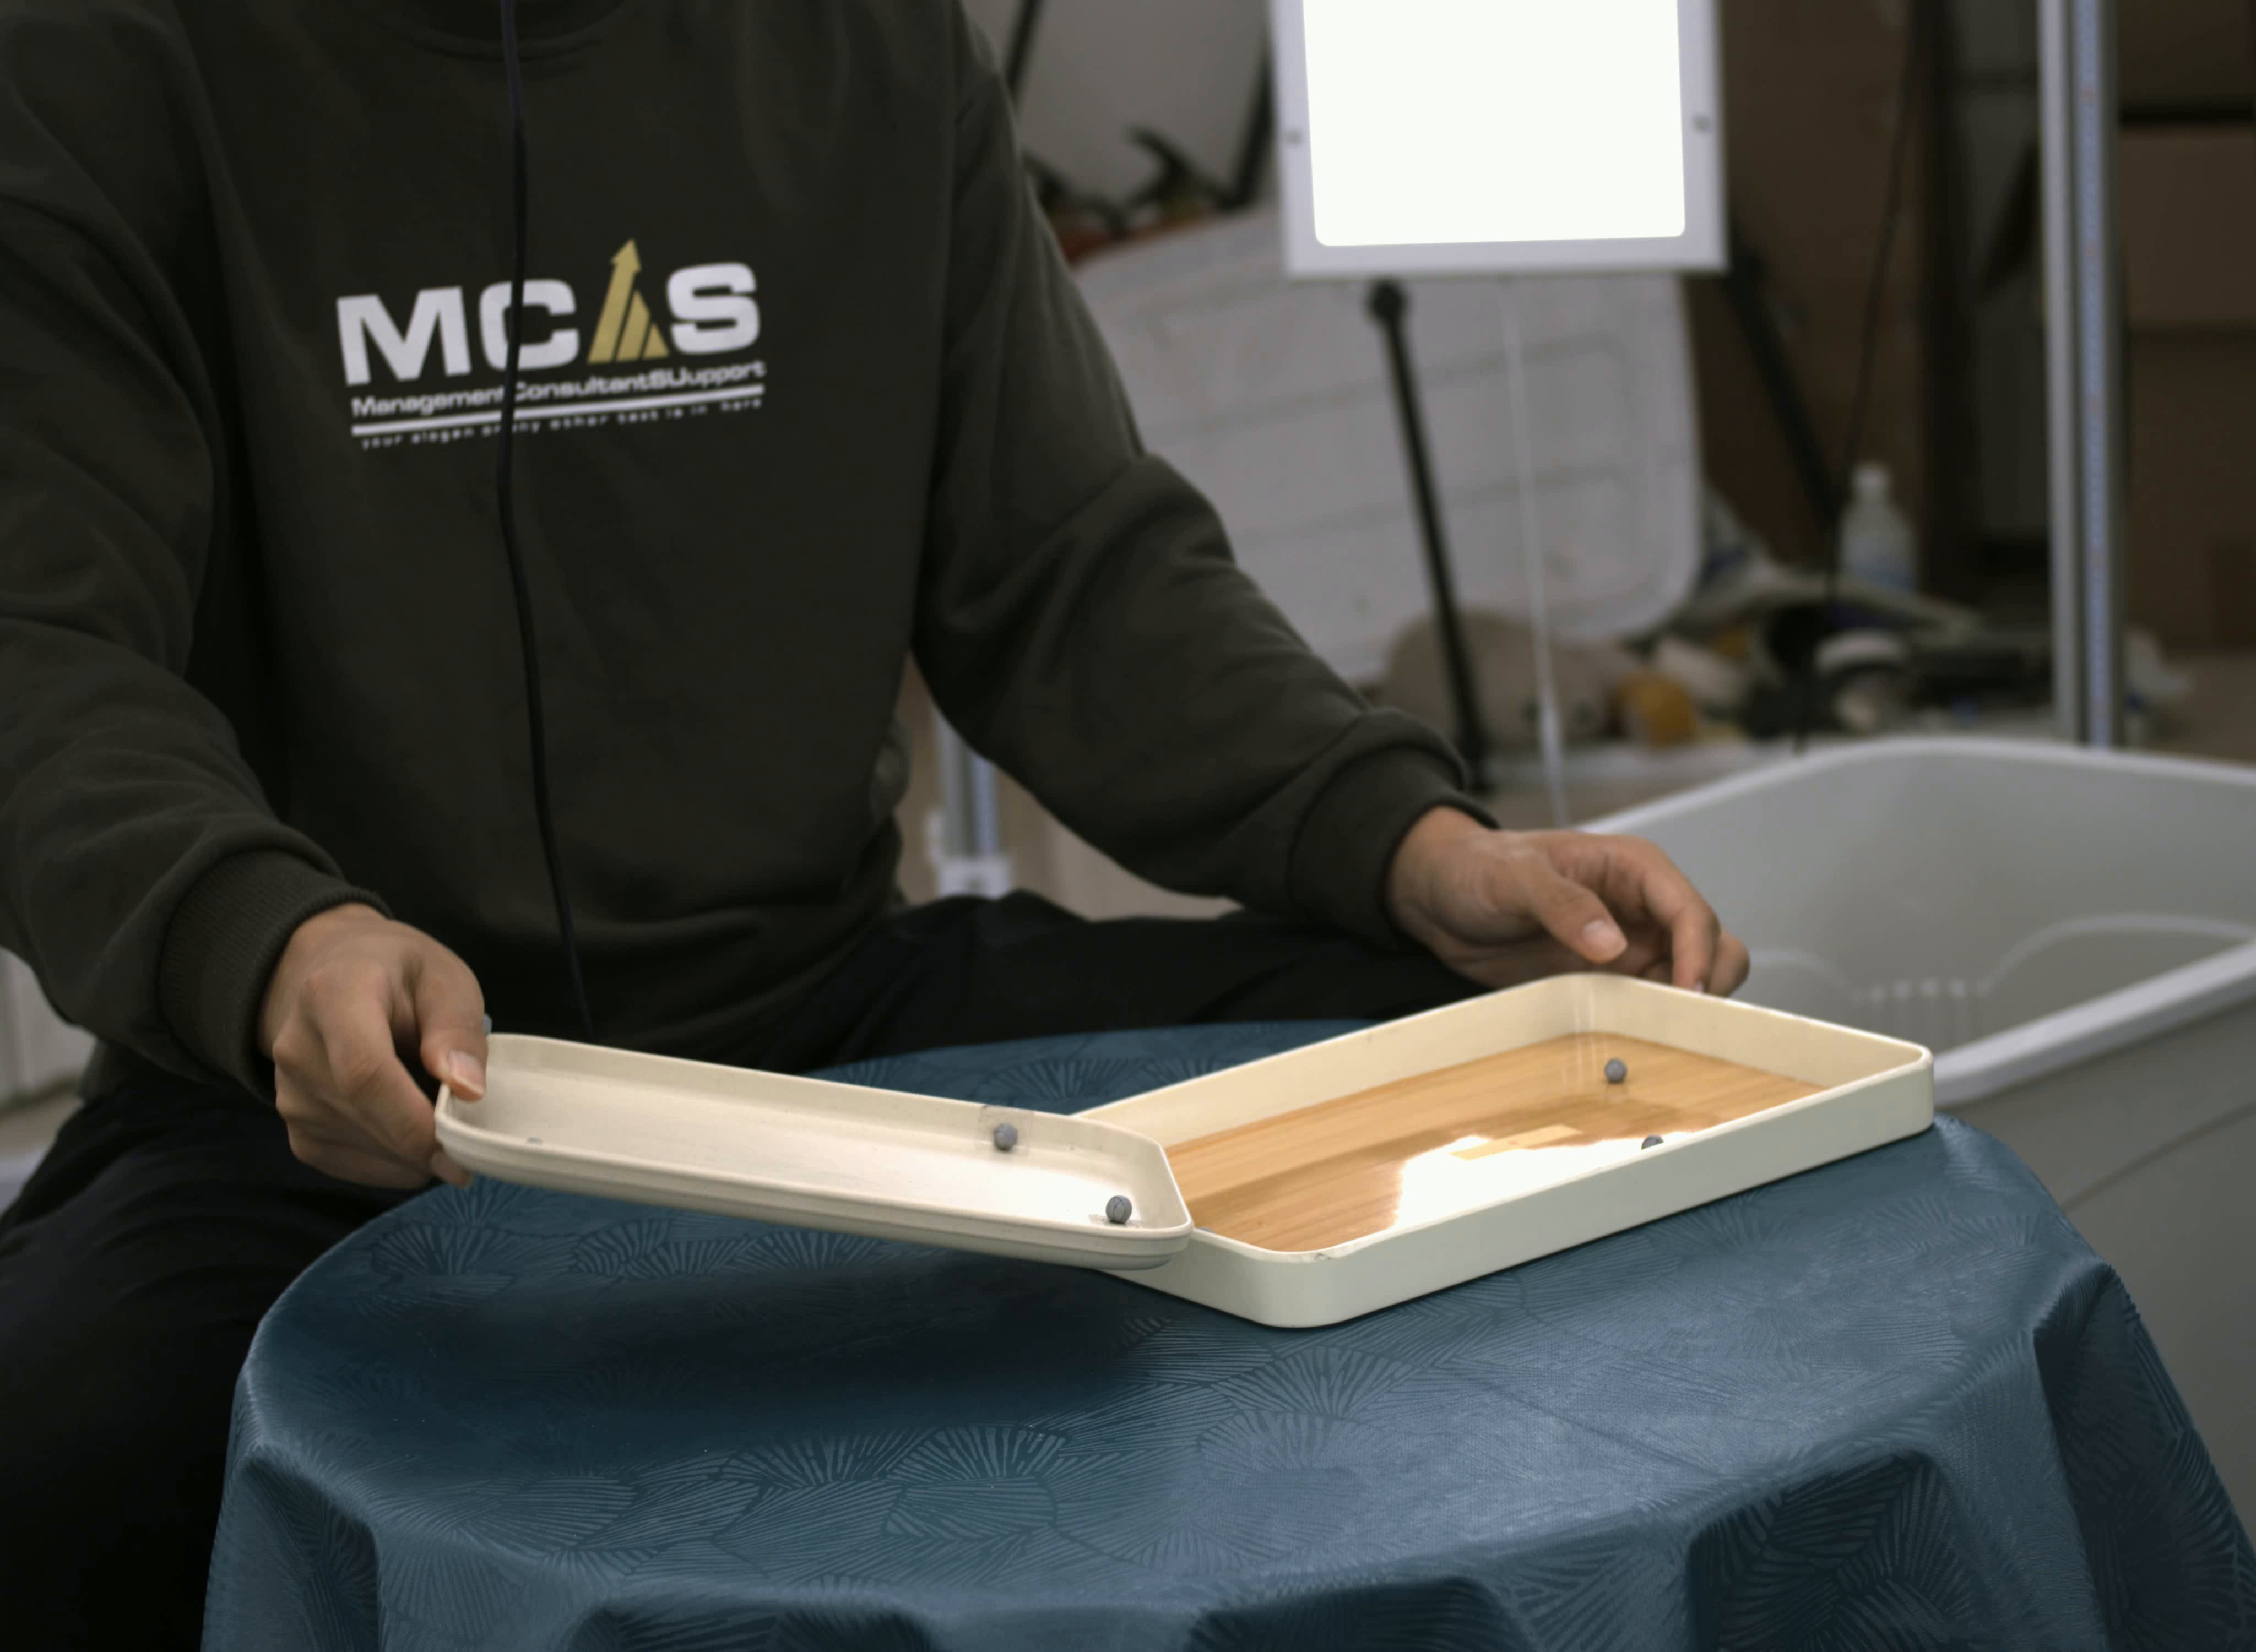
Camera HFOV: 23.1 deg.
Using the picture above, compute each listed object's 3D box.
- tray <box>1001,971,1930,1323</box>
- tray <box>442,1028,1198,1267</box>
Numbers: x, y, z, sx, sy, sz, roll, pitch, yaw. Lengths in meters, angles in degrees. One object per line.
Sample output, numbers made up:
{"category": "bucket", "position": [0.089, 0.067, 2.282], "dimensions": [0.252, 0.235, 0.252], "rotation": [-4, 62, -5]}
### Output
{"category": "tray", "position": [0.112, 0.106, 1.887], "dimensions": [0.293, 0.027, 0.195], "rotation": [-14, 16, -34]}
{"category": "tray", "position": [-0.100, 0.103, 1.764], "dimensions": [0.238, 0.017, 0.171], "rotation": [9, 8, -4]}
